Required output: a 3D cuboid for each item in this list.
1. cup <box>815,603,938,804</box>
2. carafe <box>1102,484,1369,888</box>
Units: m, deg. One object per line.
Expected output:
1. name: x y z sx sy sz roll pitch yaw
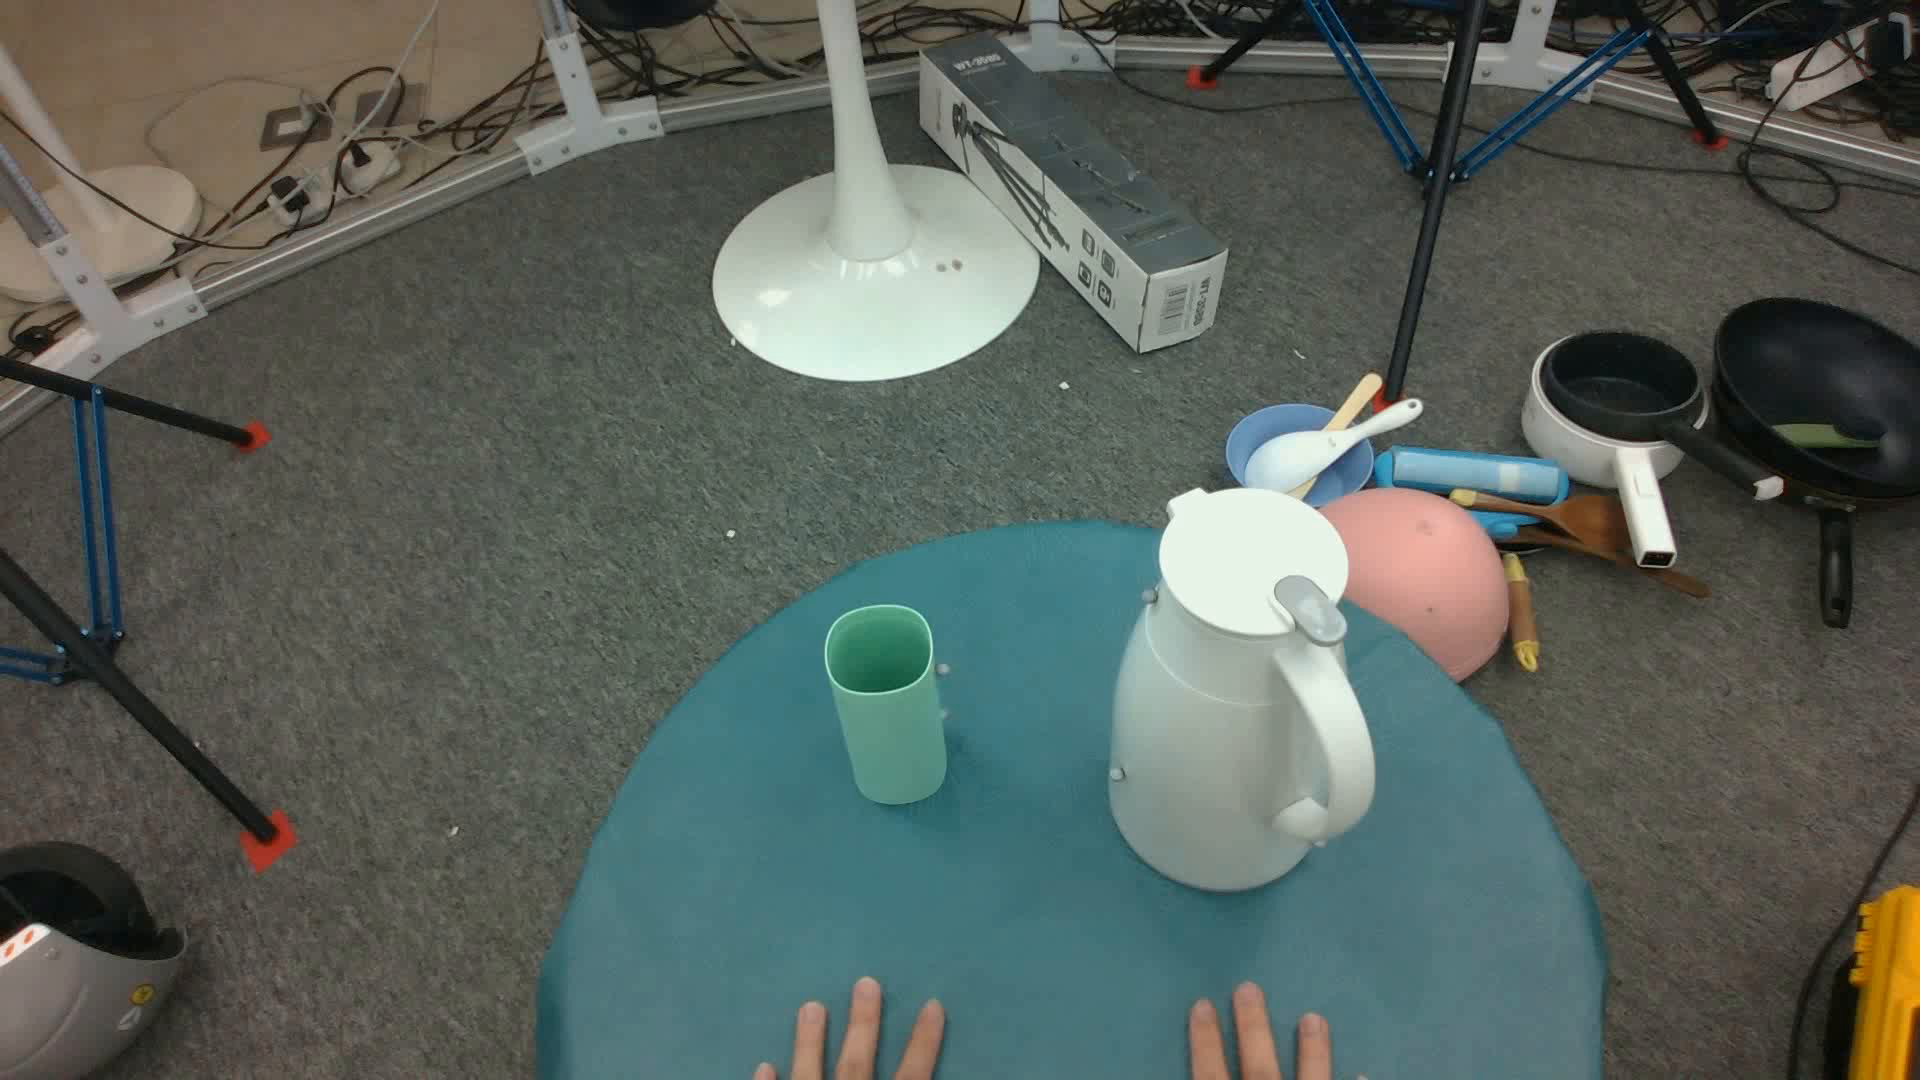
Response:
1. cup: -0.048 0.103 0.838 0.067 0.131 0.067 -2 50 3
2. carafe: 0.158 0.092 0.755 0.133 0.247 0.168 -24 54 -15
